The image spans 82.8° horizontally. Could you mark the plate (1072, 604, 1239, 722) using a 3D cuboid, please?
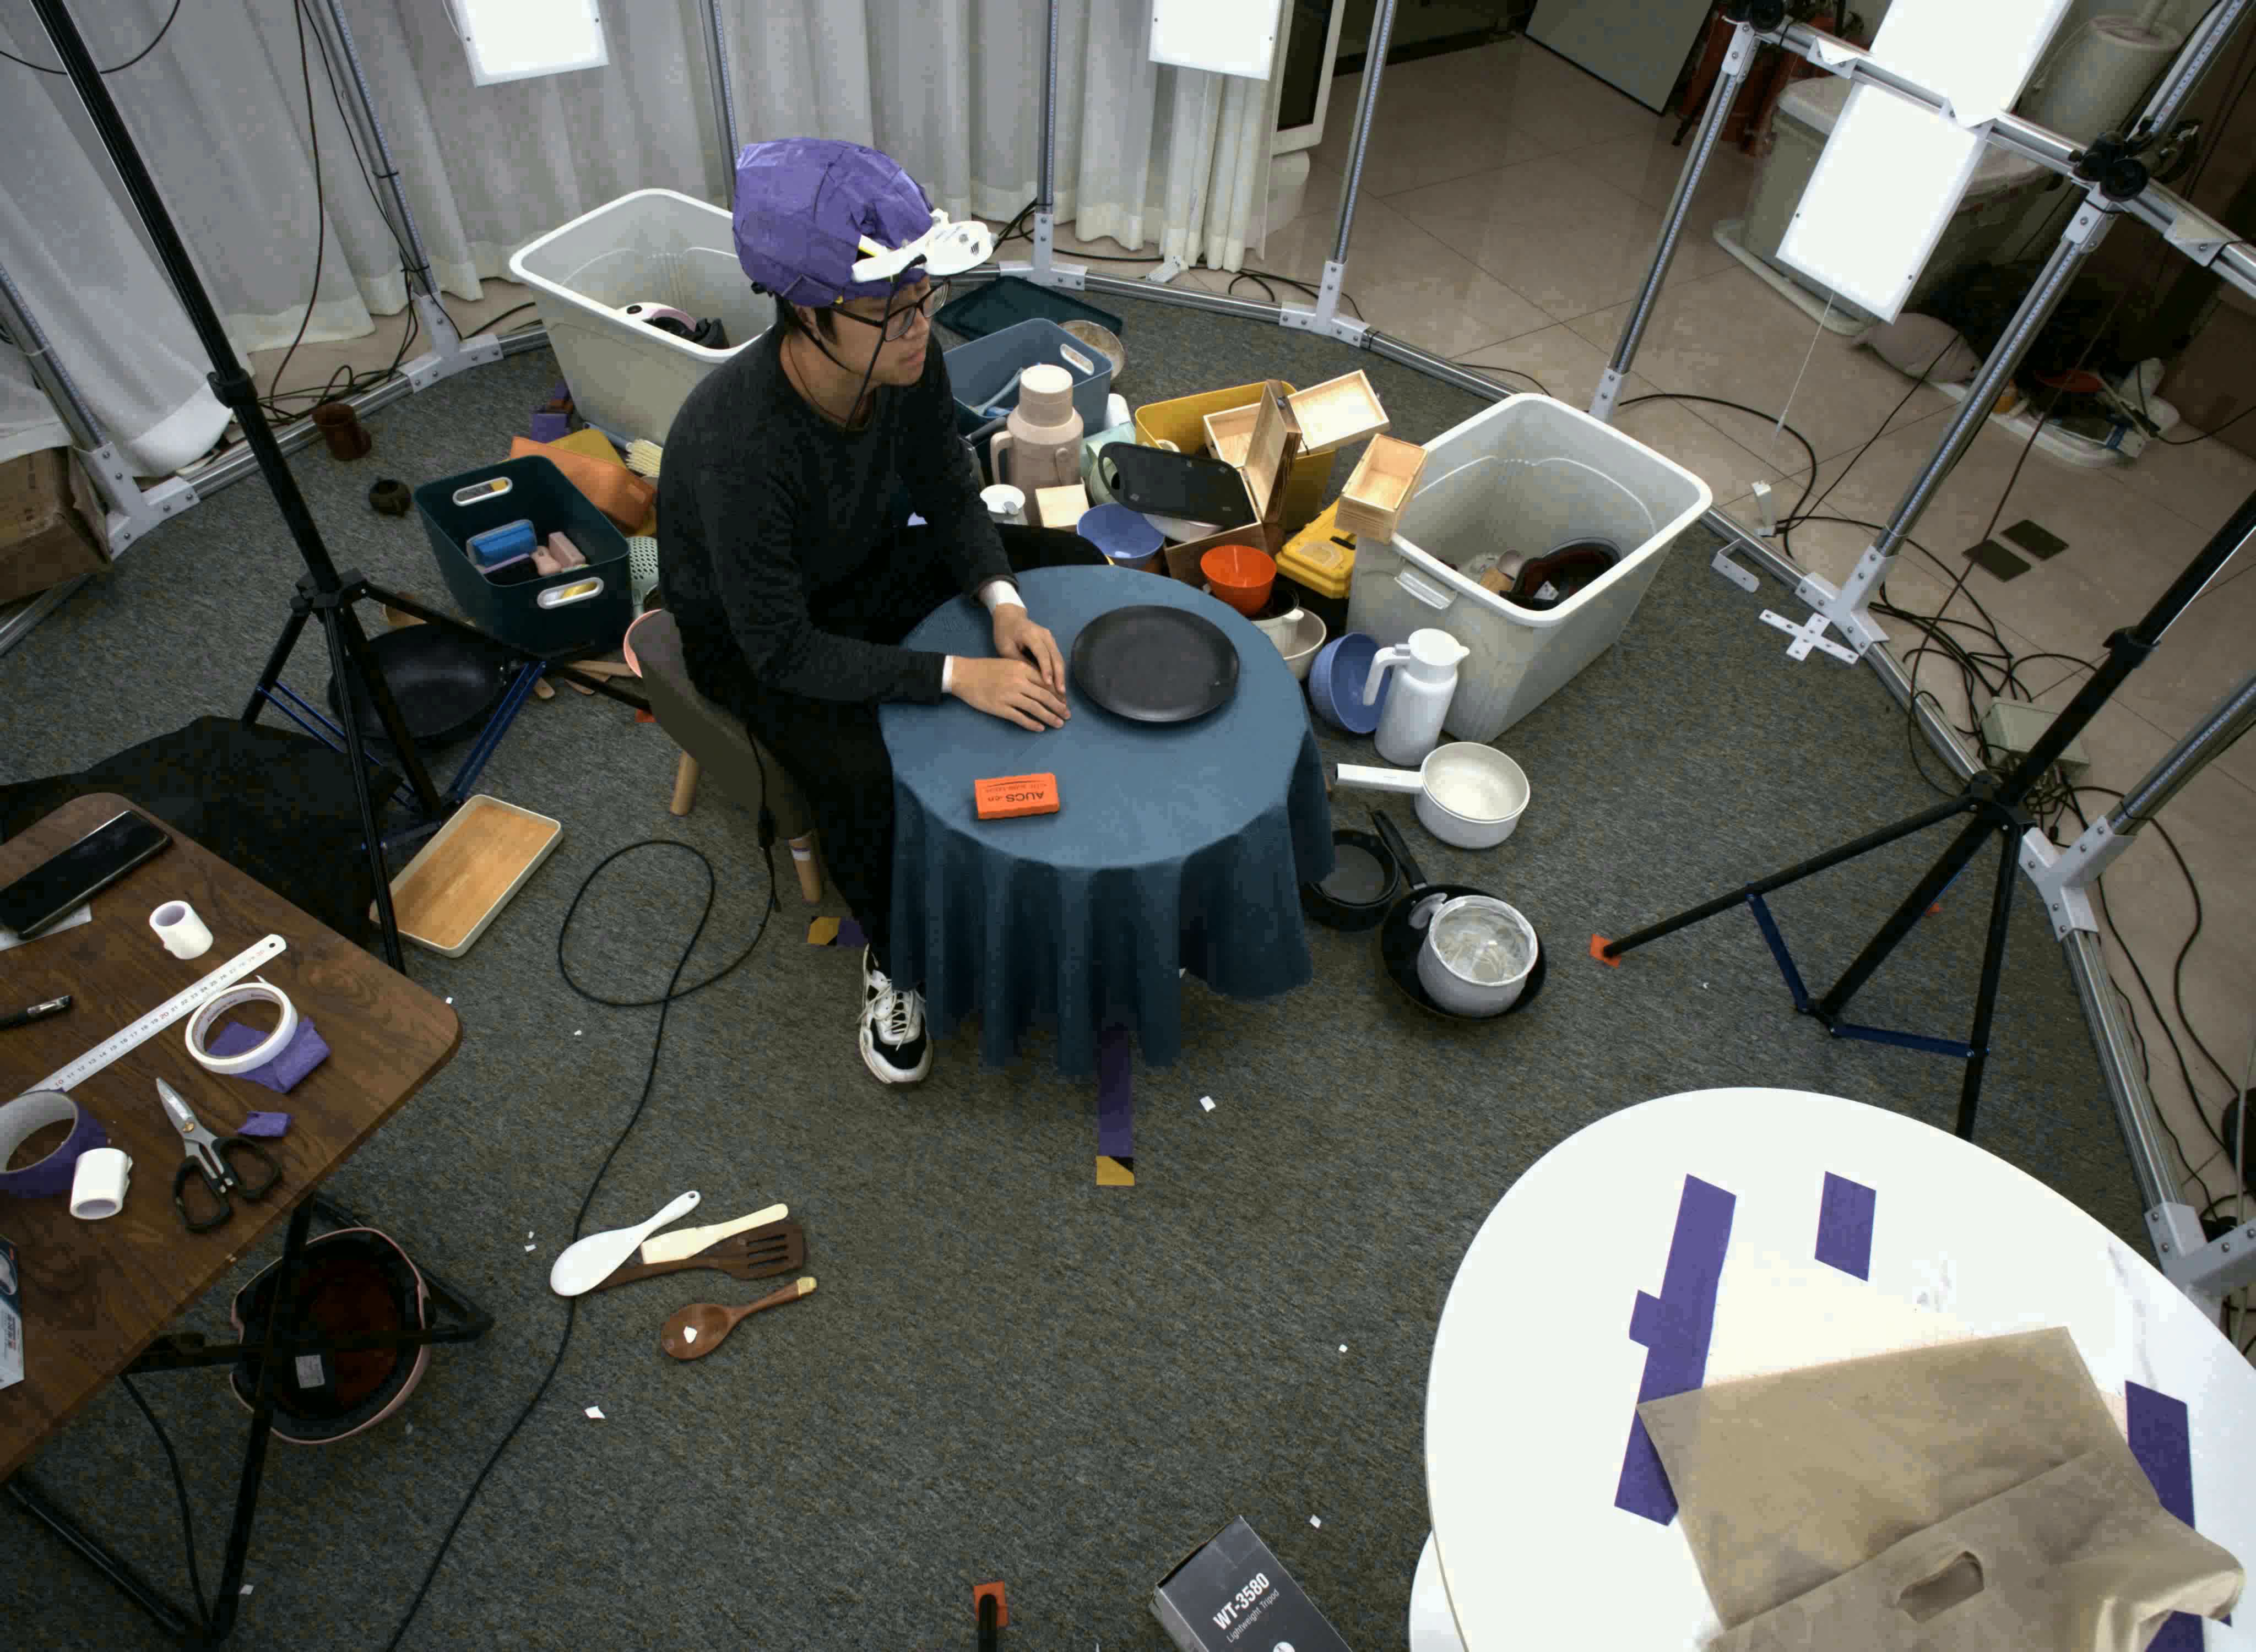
[{"bbox_3d":[0.040,-0.234,1.860,0.244,0.023,0.250,2,49,-2],"label":"plate"}]

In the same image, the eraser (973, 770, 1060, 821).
[{"bbox_3d":[-0.146,-0.040,1.675,0.108,0.022,0.060,-8,48,-8],"label":"eraser"}]
